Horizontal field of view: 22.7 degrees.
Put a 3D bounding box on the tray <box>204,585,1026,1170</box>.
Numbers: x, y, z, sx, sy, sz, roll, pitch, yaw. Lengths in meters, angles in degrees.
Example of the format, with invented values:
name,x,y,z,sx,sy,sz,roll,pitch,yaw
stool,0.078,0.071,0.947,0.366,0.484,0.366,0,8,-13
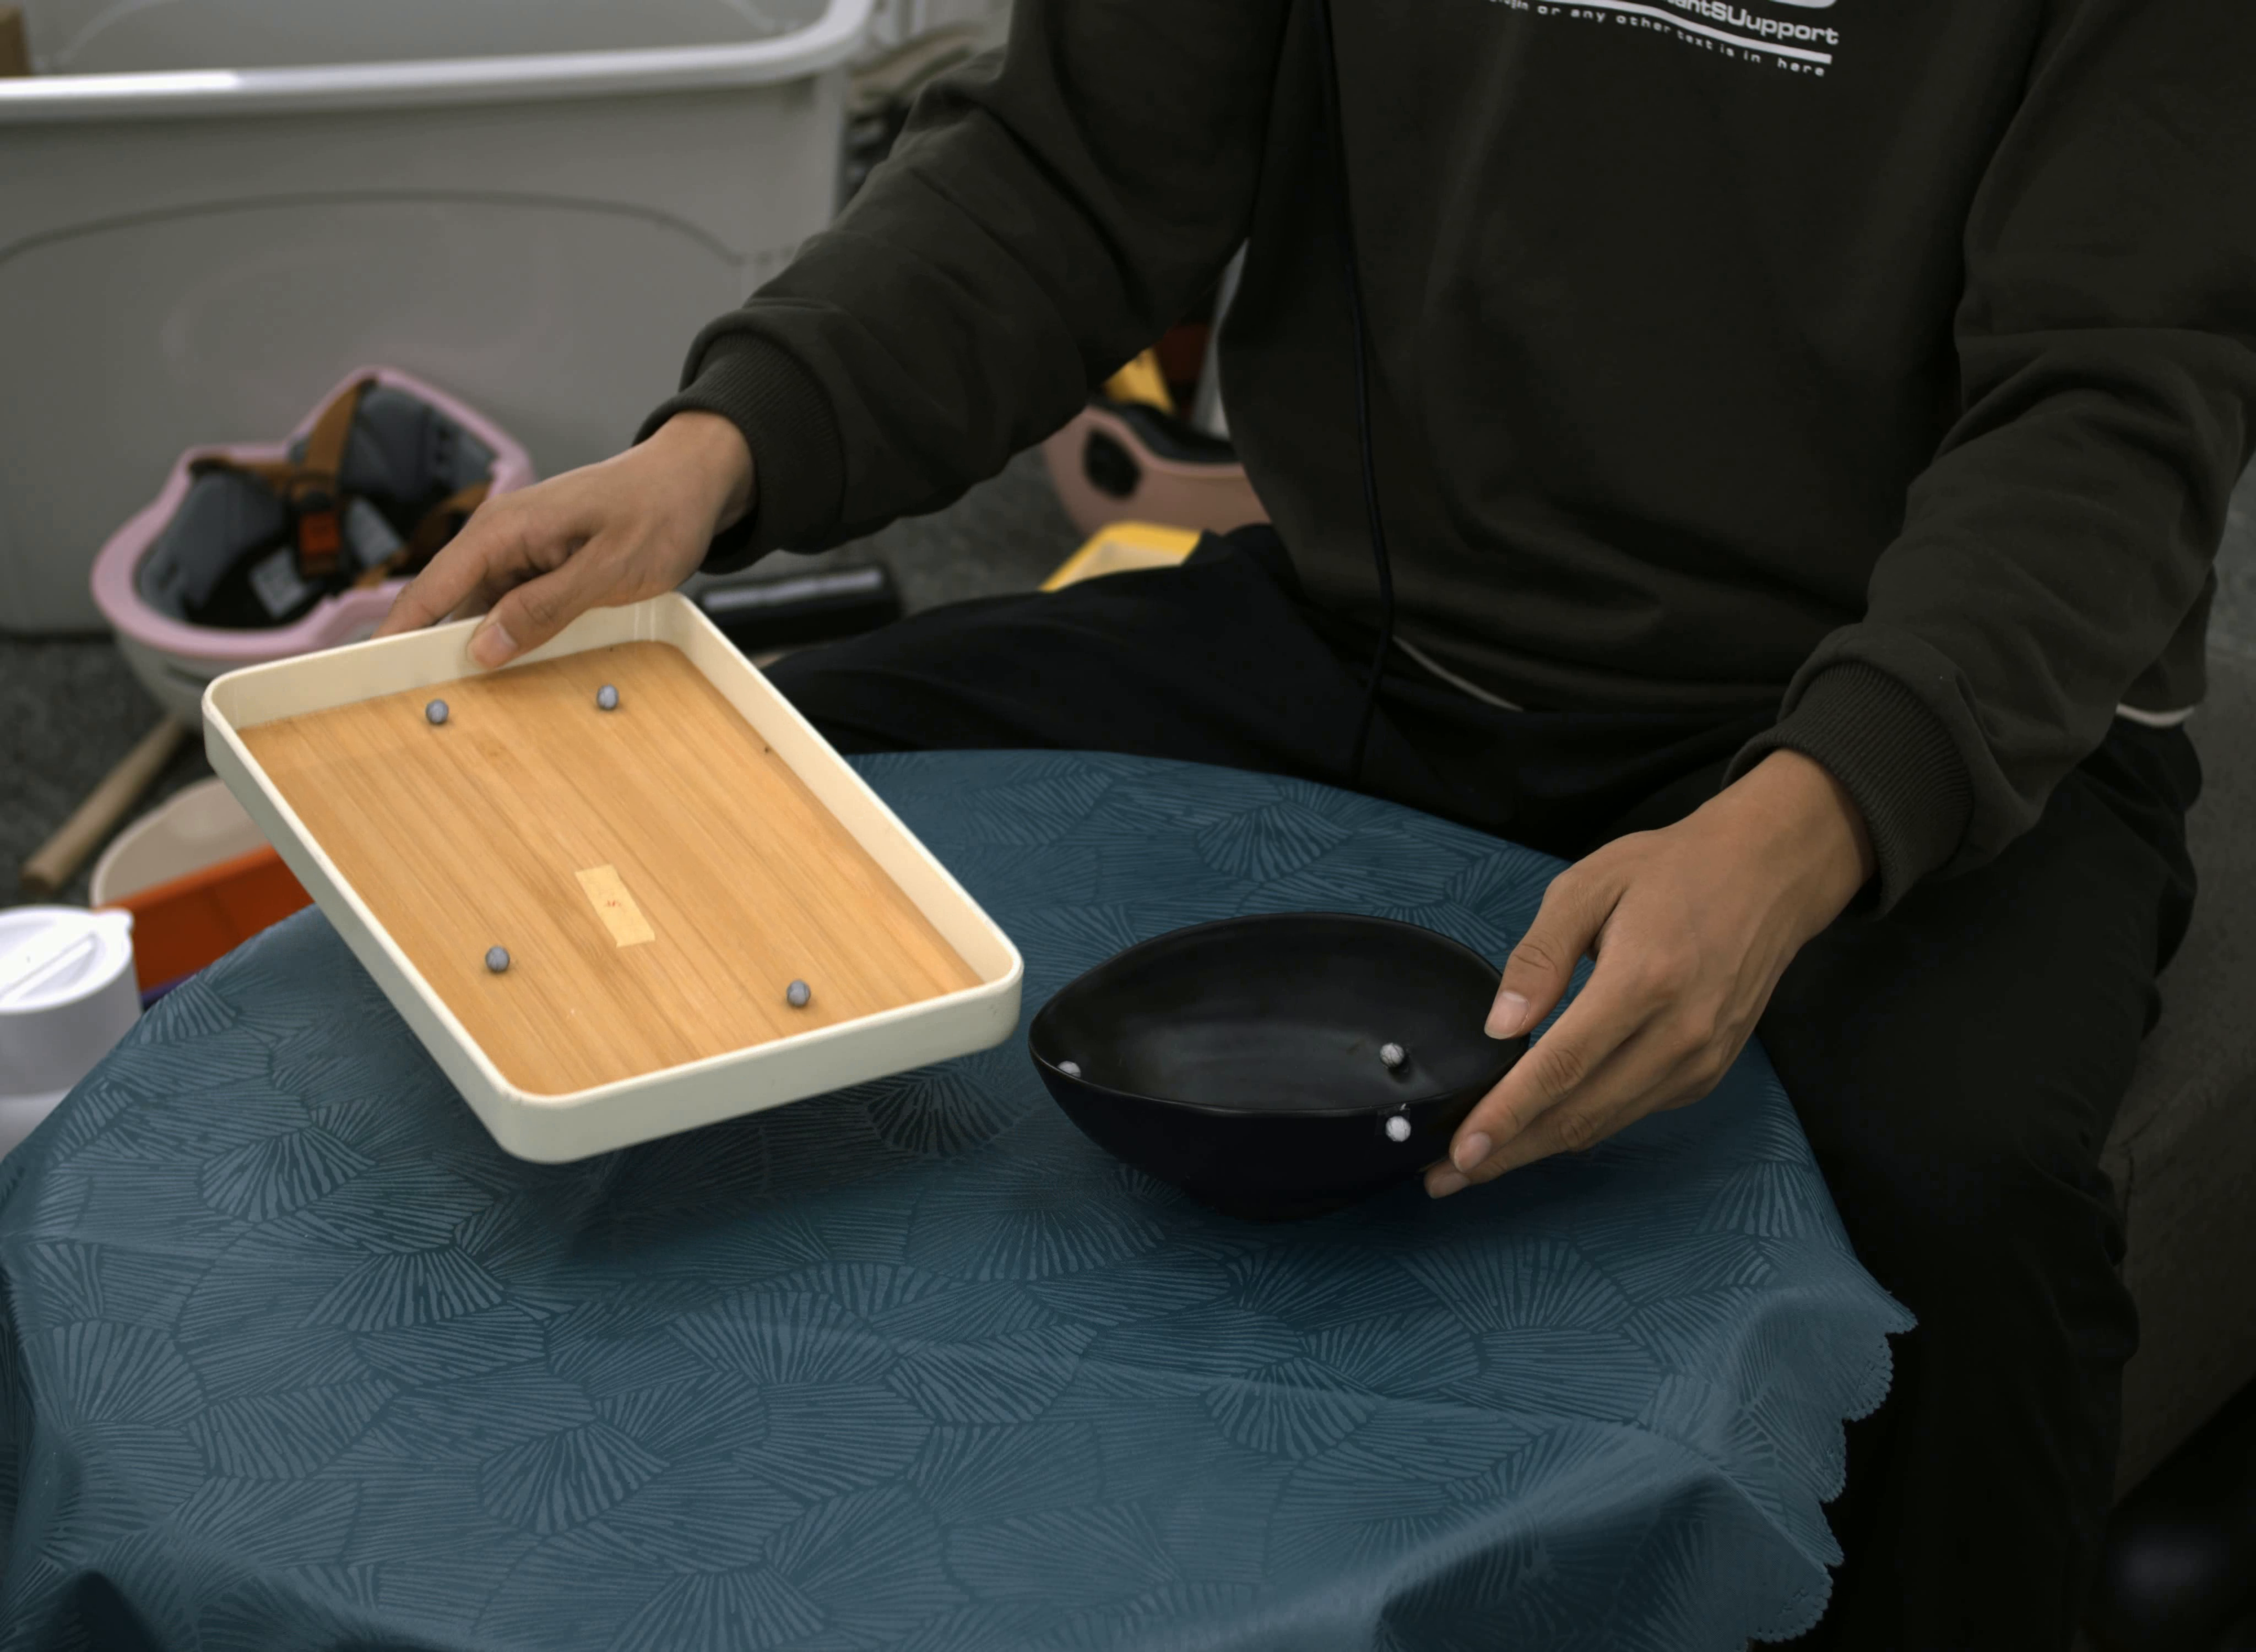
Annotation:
name,x,y,z,sx,sy,sz,roll,pitch,yaw
tray,-0.182,0.012,1.944,0.192,0.027,0.302,-14,36,-25

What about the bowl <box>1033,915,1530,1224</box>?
name,x,y,z,sx,sy,sz,roll,pitch,yaw
bowl,0.050,0.089,1.858,0.169,0.066,0.139,4,26,18
